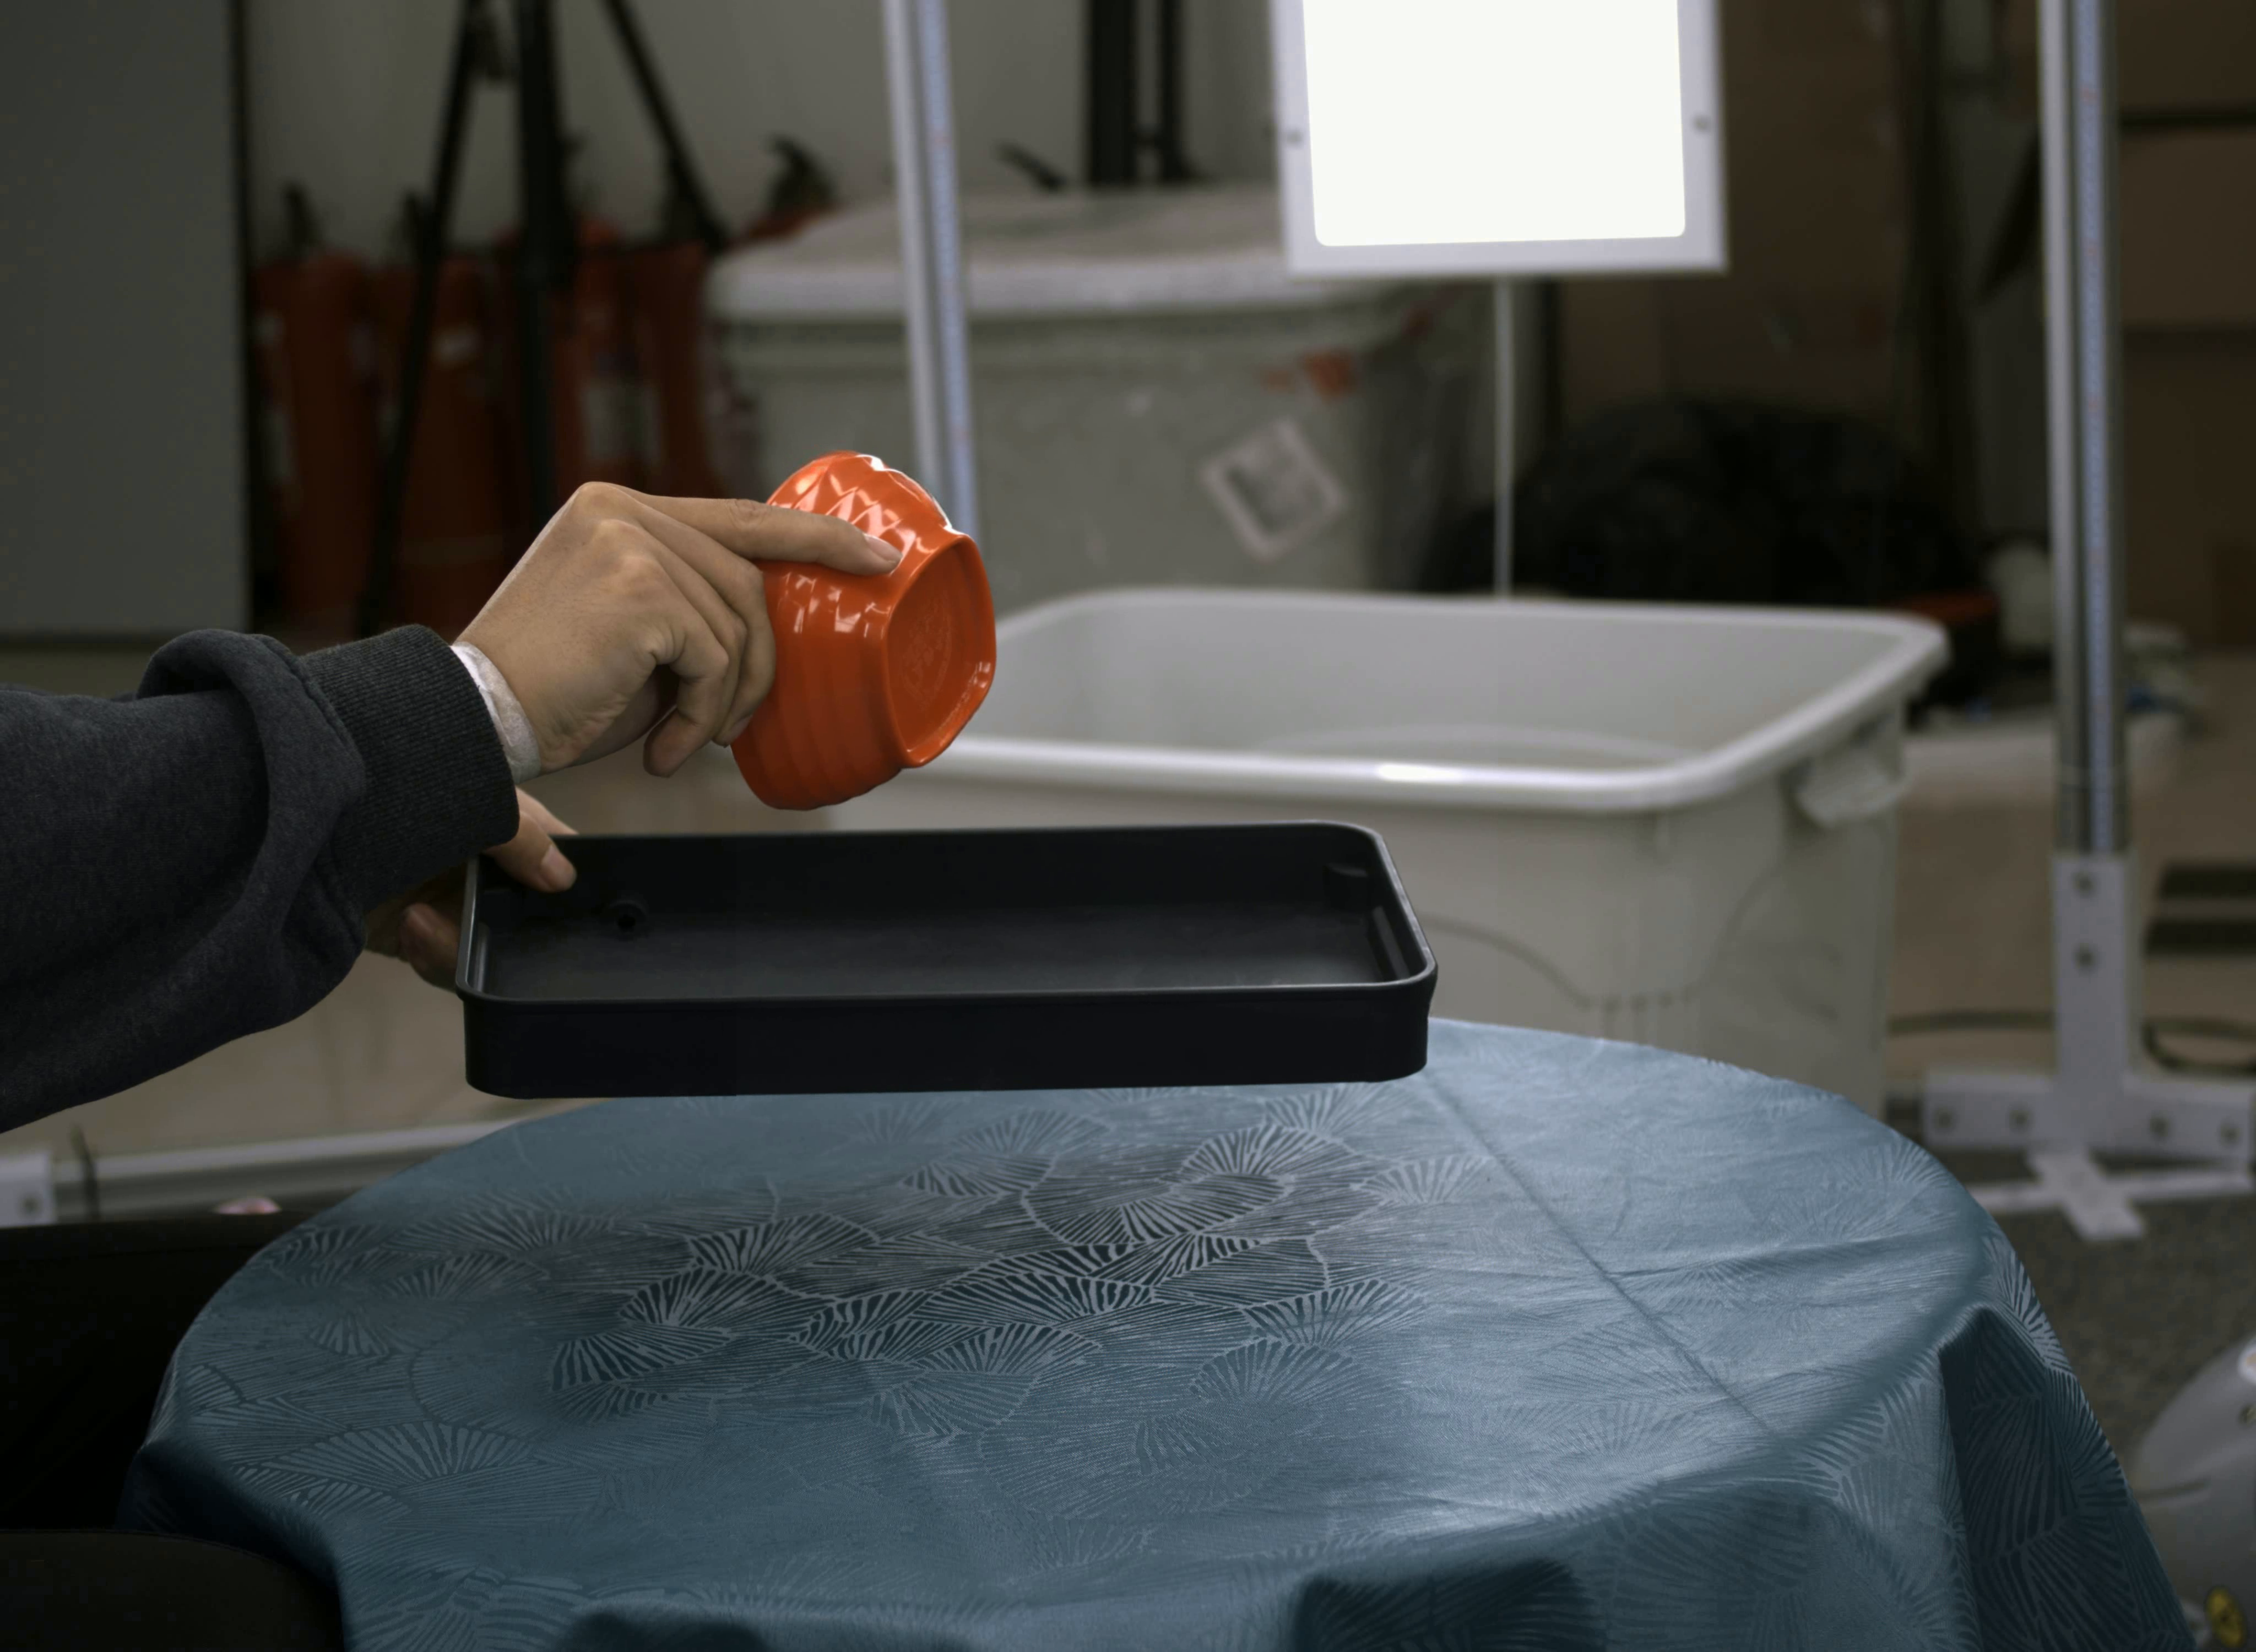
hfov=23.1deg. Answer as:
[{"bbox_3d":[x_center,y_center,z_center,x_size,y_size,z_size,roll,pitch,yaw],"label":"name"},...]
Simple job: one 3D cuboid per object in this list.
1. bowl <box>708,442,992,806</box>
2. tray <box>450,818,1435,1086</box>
[{"bbox_3d":[-0.083,-0.061,1.760,0.052,0.119,0.116,13,20,28],"label":"bowl"},{"bbox_3d":[-0.065,0.040,1.838,0.316,0.037,0.184,0,17,-3],"label":"tray"}]
